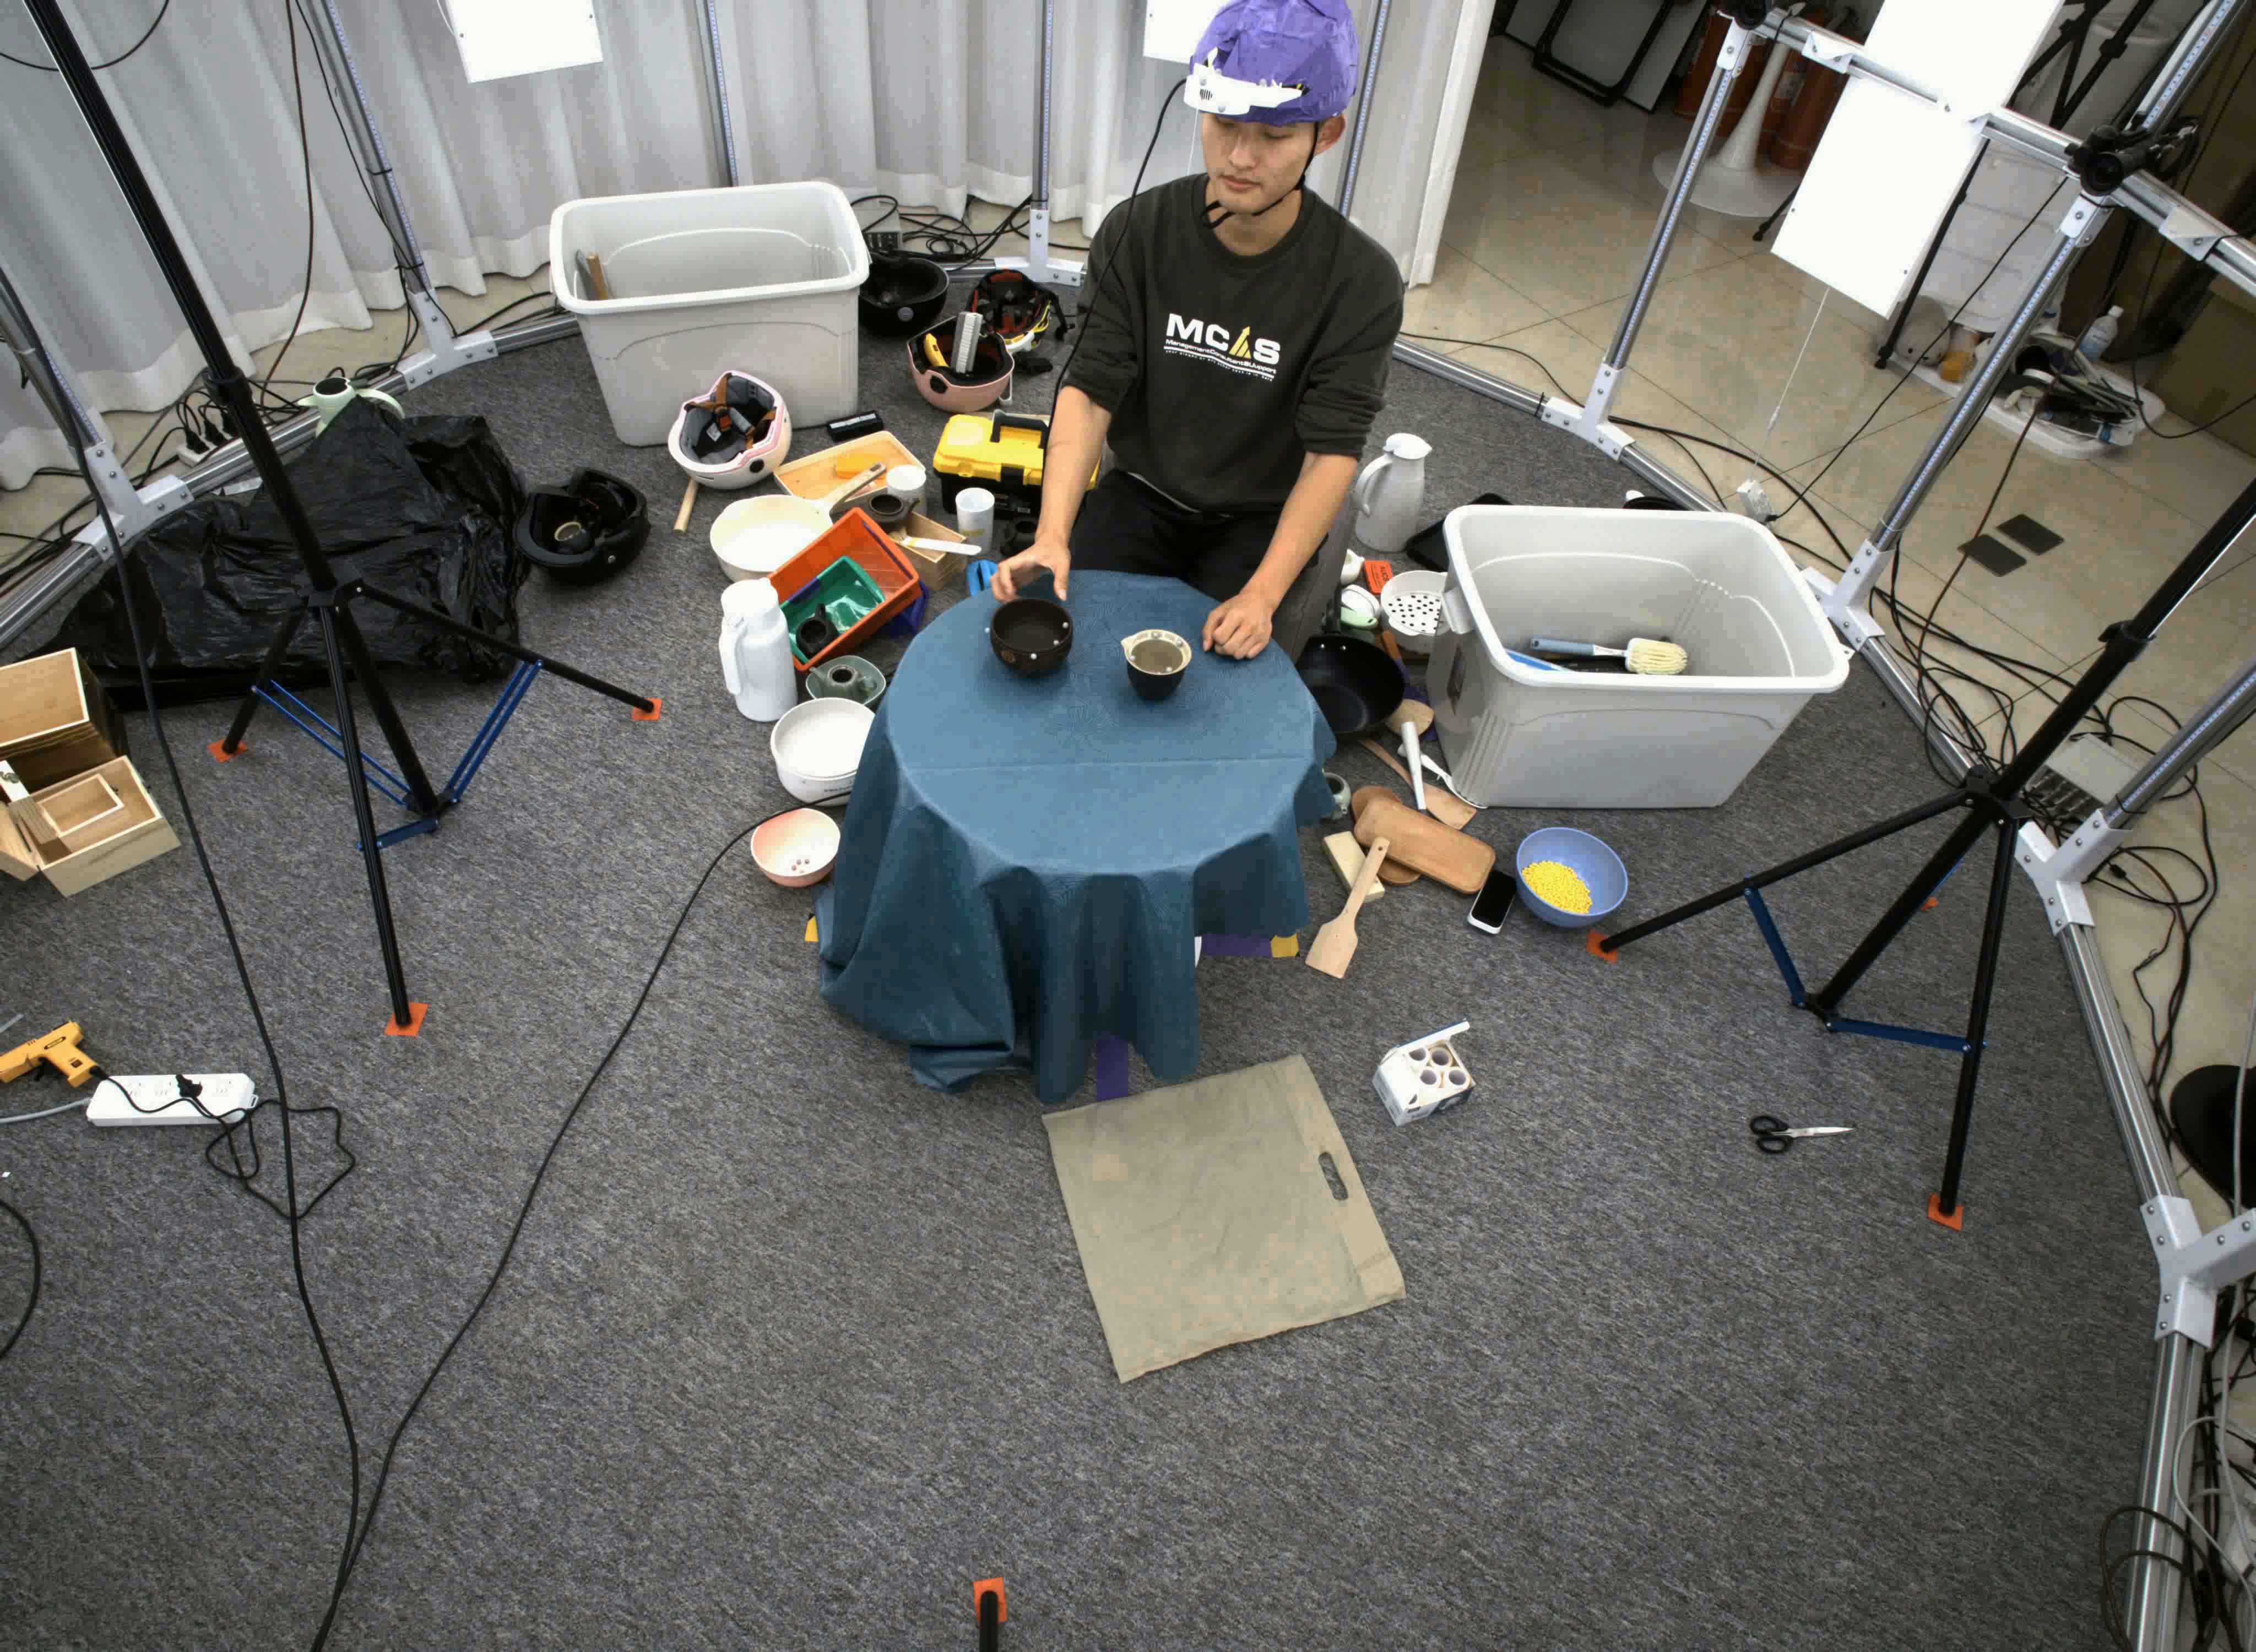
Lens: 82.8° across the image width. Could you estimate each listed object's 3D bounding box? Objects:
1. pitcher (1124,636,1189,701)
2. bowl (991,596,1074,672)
[{"bbox_3d":[0.036,-0.222,1.812,0.096,0.069,0.085,25,53,16],"label":"pitcher"},{"bbox_3d":[-0.137,-0.265,1.837,0.118,0.068,0.121,3,48,-3],"label":"bowl"}]
